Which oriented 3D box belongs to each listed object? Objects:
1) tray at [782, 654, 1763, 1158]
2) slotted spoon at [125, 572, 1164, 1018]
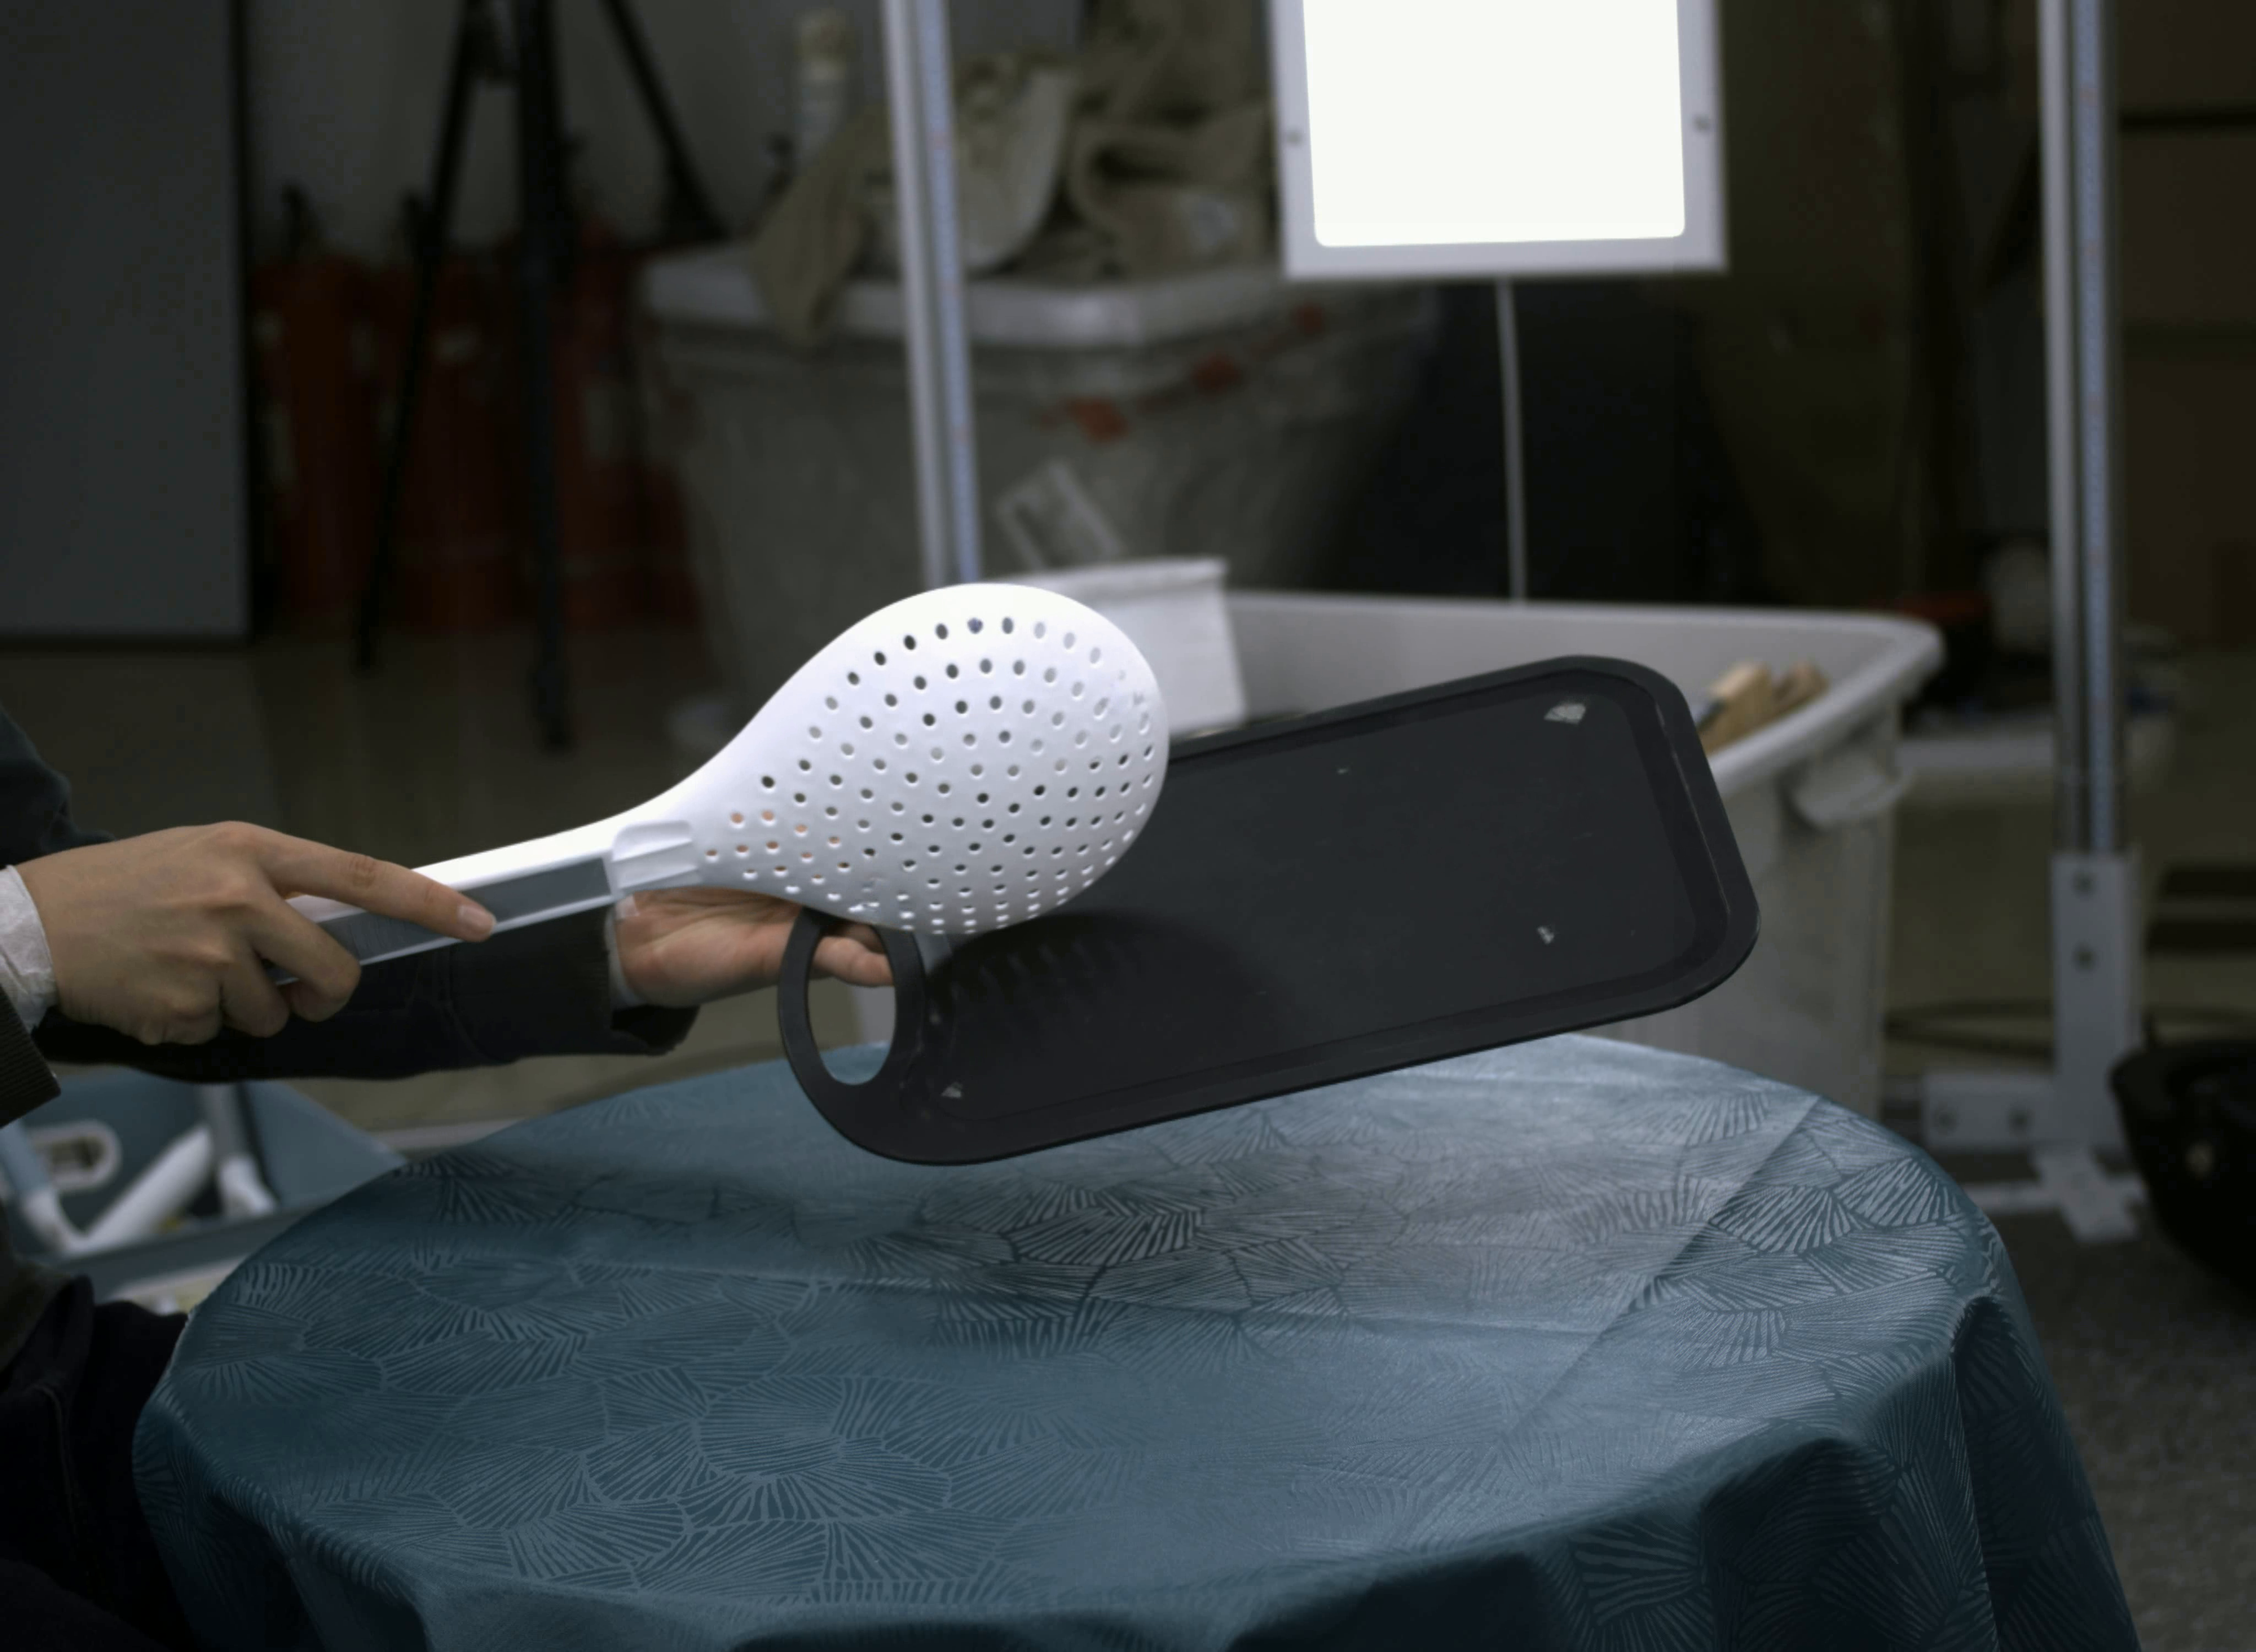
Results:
[{"bbox_3d":[0.043,0.024,1.837,0.325,0.010,0.211,-13,34,4],"label":"tray"},{"bbox_3d":[-0.157,0.007,1.812,0.349,0.136,0.046,-12,32,2],"label":"slotted spoon"}]
